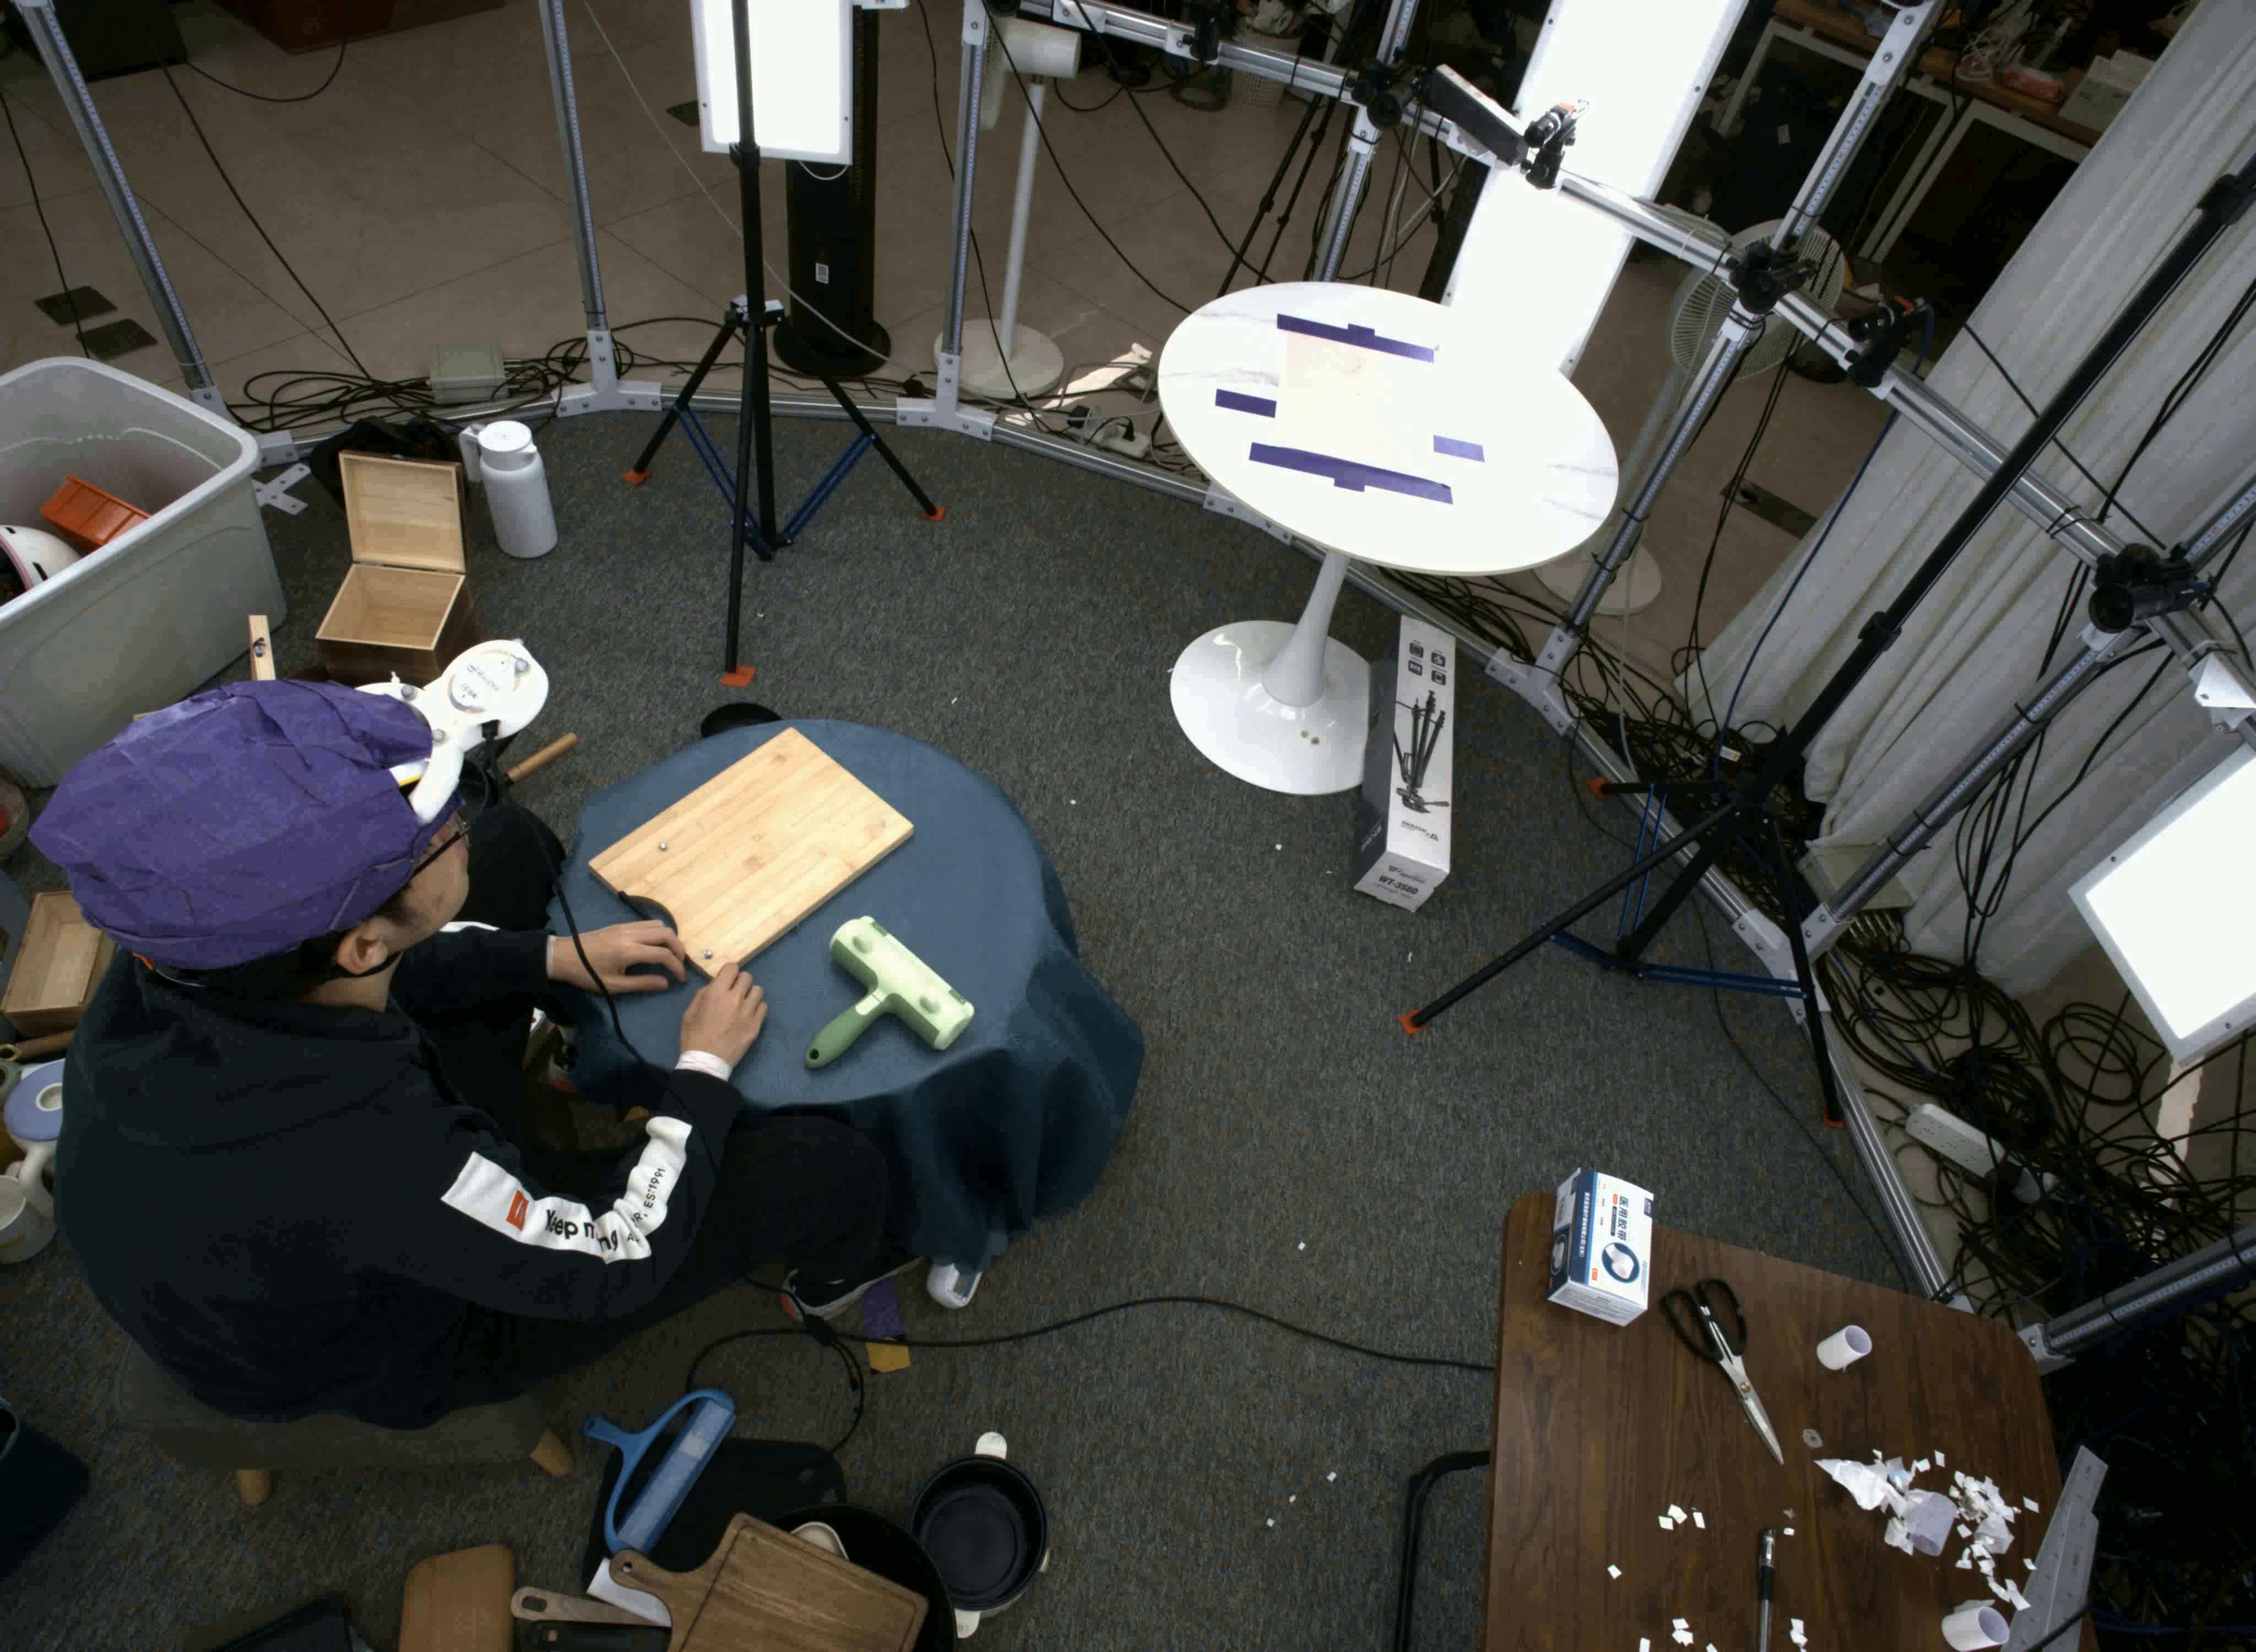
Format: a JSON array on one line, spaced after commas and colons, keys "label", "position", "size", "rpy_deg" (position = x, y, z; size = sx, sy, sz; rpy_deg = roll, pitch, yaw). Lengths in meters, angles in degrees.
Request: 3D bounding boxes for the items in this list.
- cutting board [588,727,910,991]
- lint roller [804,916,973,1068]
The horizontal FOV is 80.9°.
[{"label": "cutting board", "position": [-0.488, 0.030, 1.680], "size": [0.246, 0.024, 0.349], "rpy_deg": [37, 54, 14]}, {"label": "lint roller", "position": [-0.314, 0.212, 1.551], "size": [0.194, 0.084, 0.183], "rpy_deg": [39, 51, 15]}]
